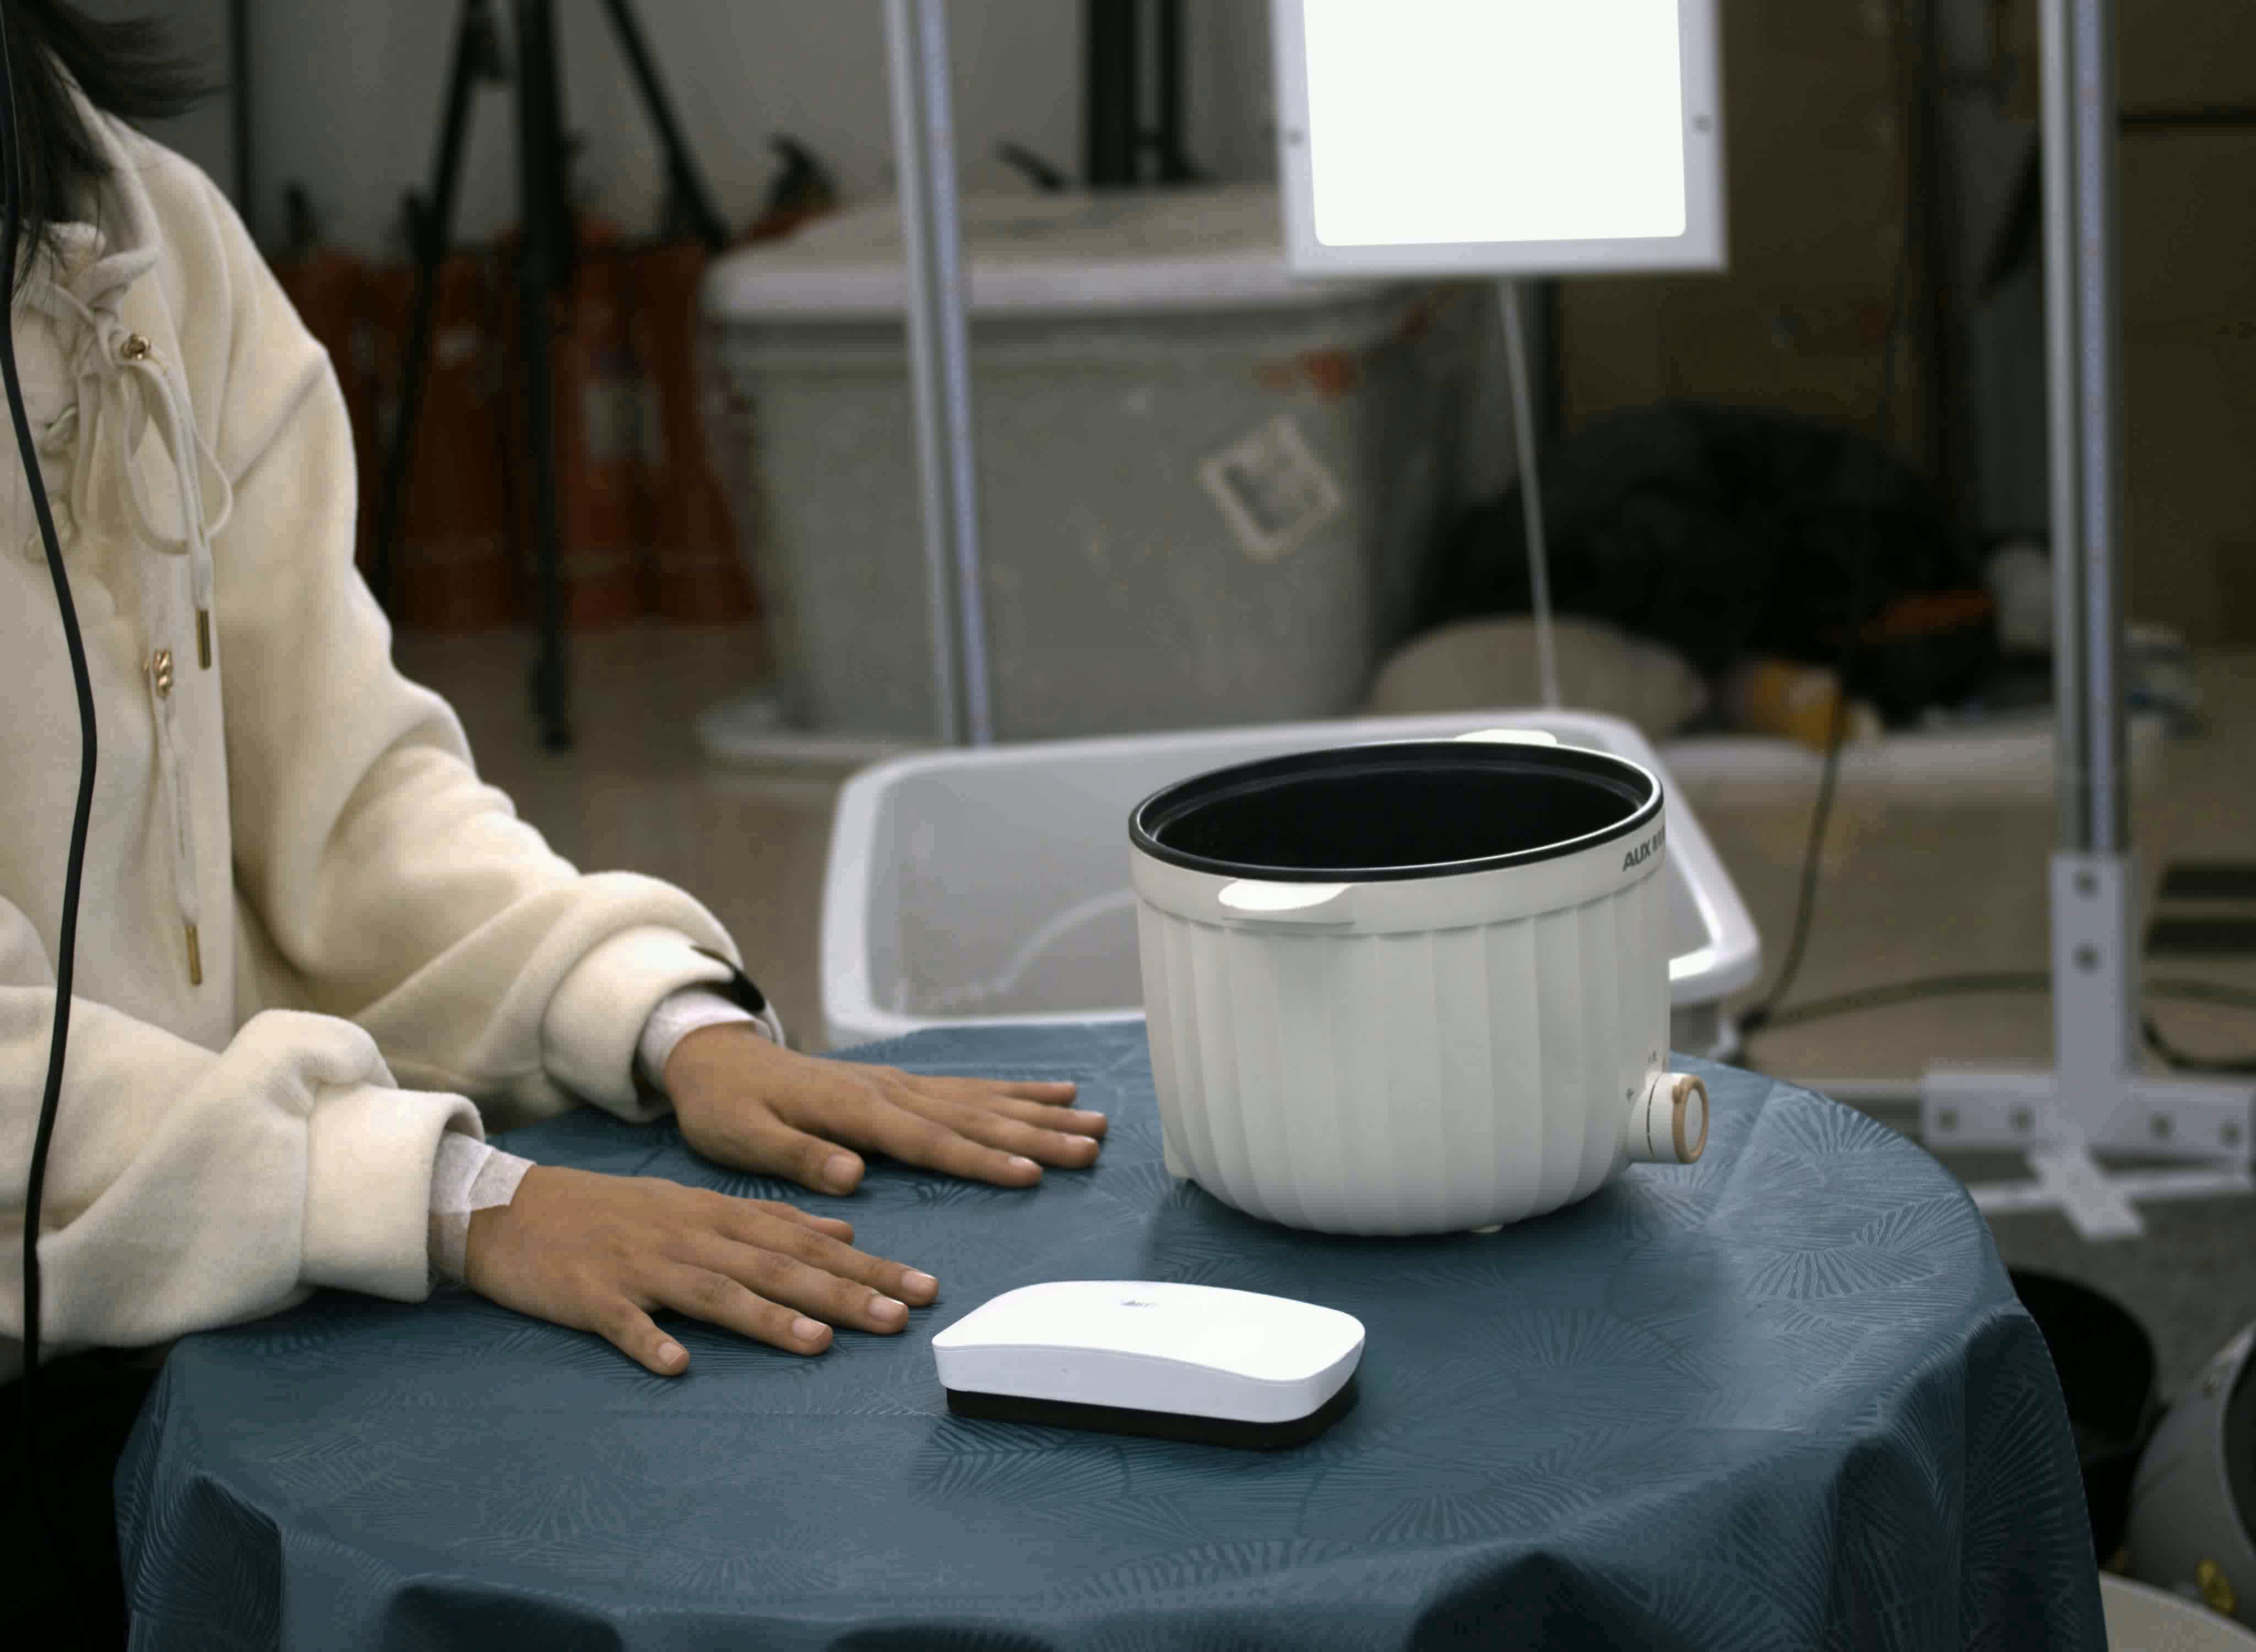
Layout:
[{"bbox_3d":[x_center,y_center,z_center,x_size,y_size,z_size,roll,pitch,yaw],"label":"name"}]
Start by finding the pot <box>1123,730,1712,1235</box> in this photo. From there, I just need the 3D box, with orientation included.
[{"bbox_3d":[0.100,0.055,1.858,0.194,0.143,0.235,-2,15,26],"label":"pot"}]

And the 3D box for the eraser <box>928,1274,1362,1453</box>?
[{"bbox_3d":[0.006,0.163,1.683,0.134,0.034,0.062,3,14,30],"label":"eraser"}]
